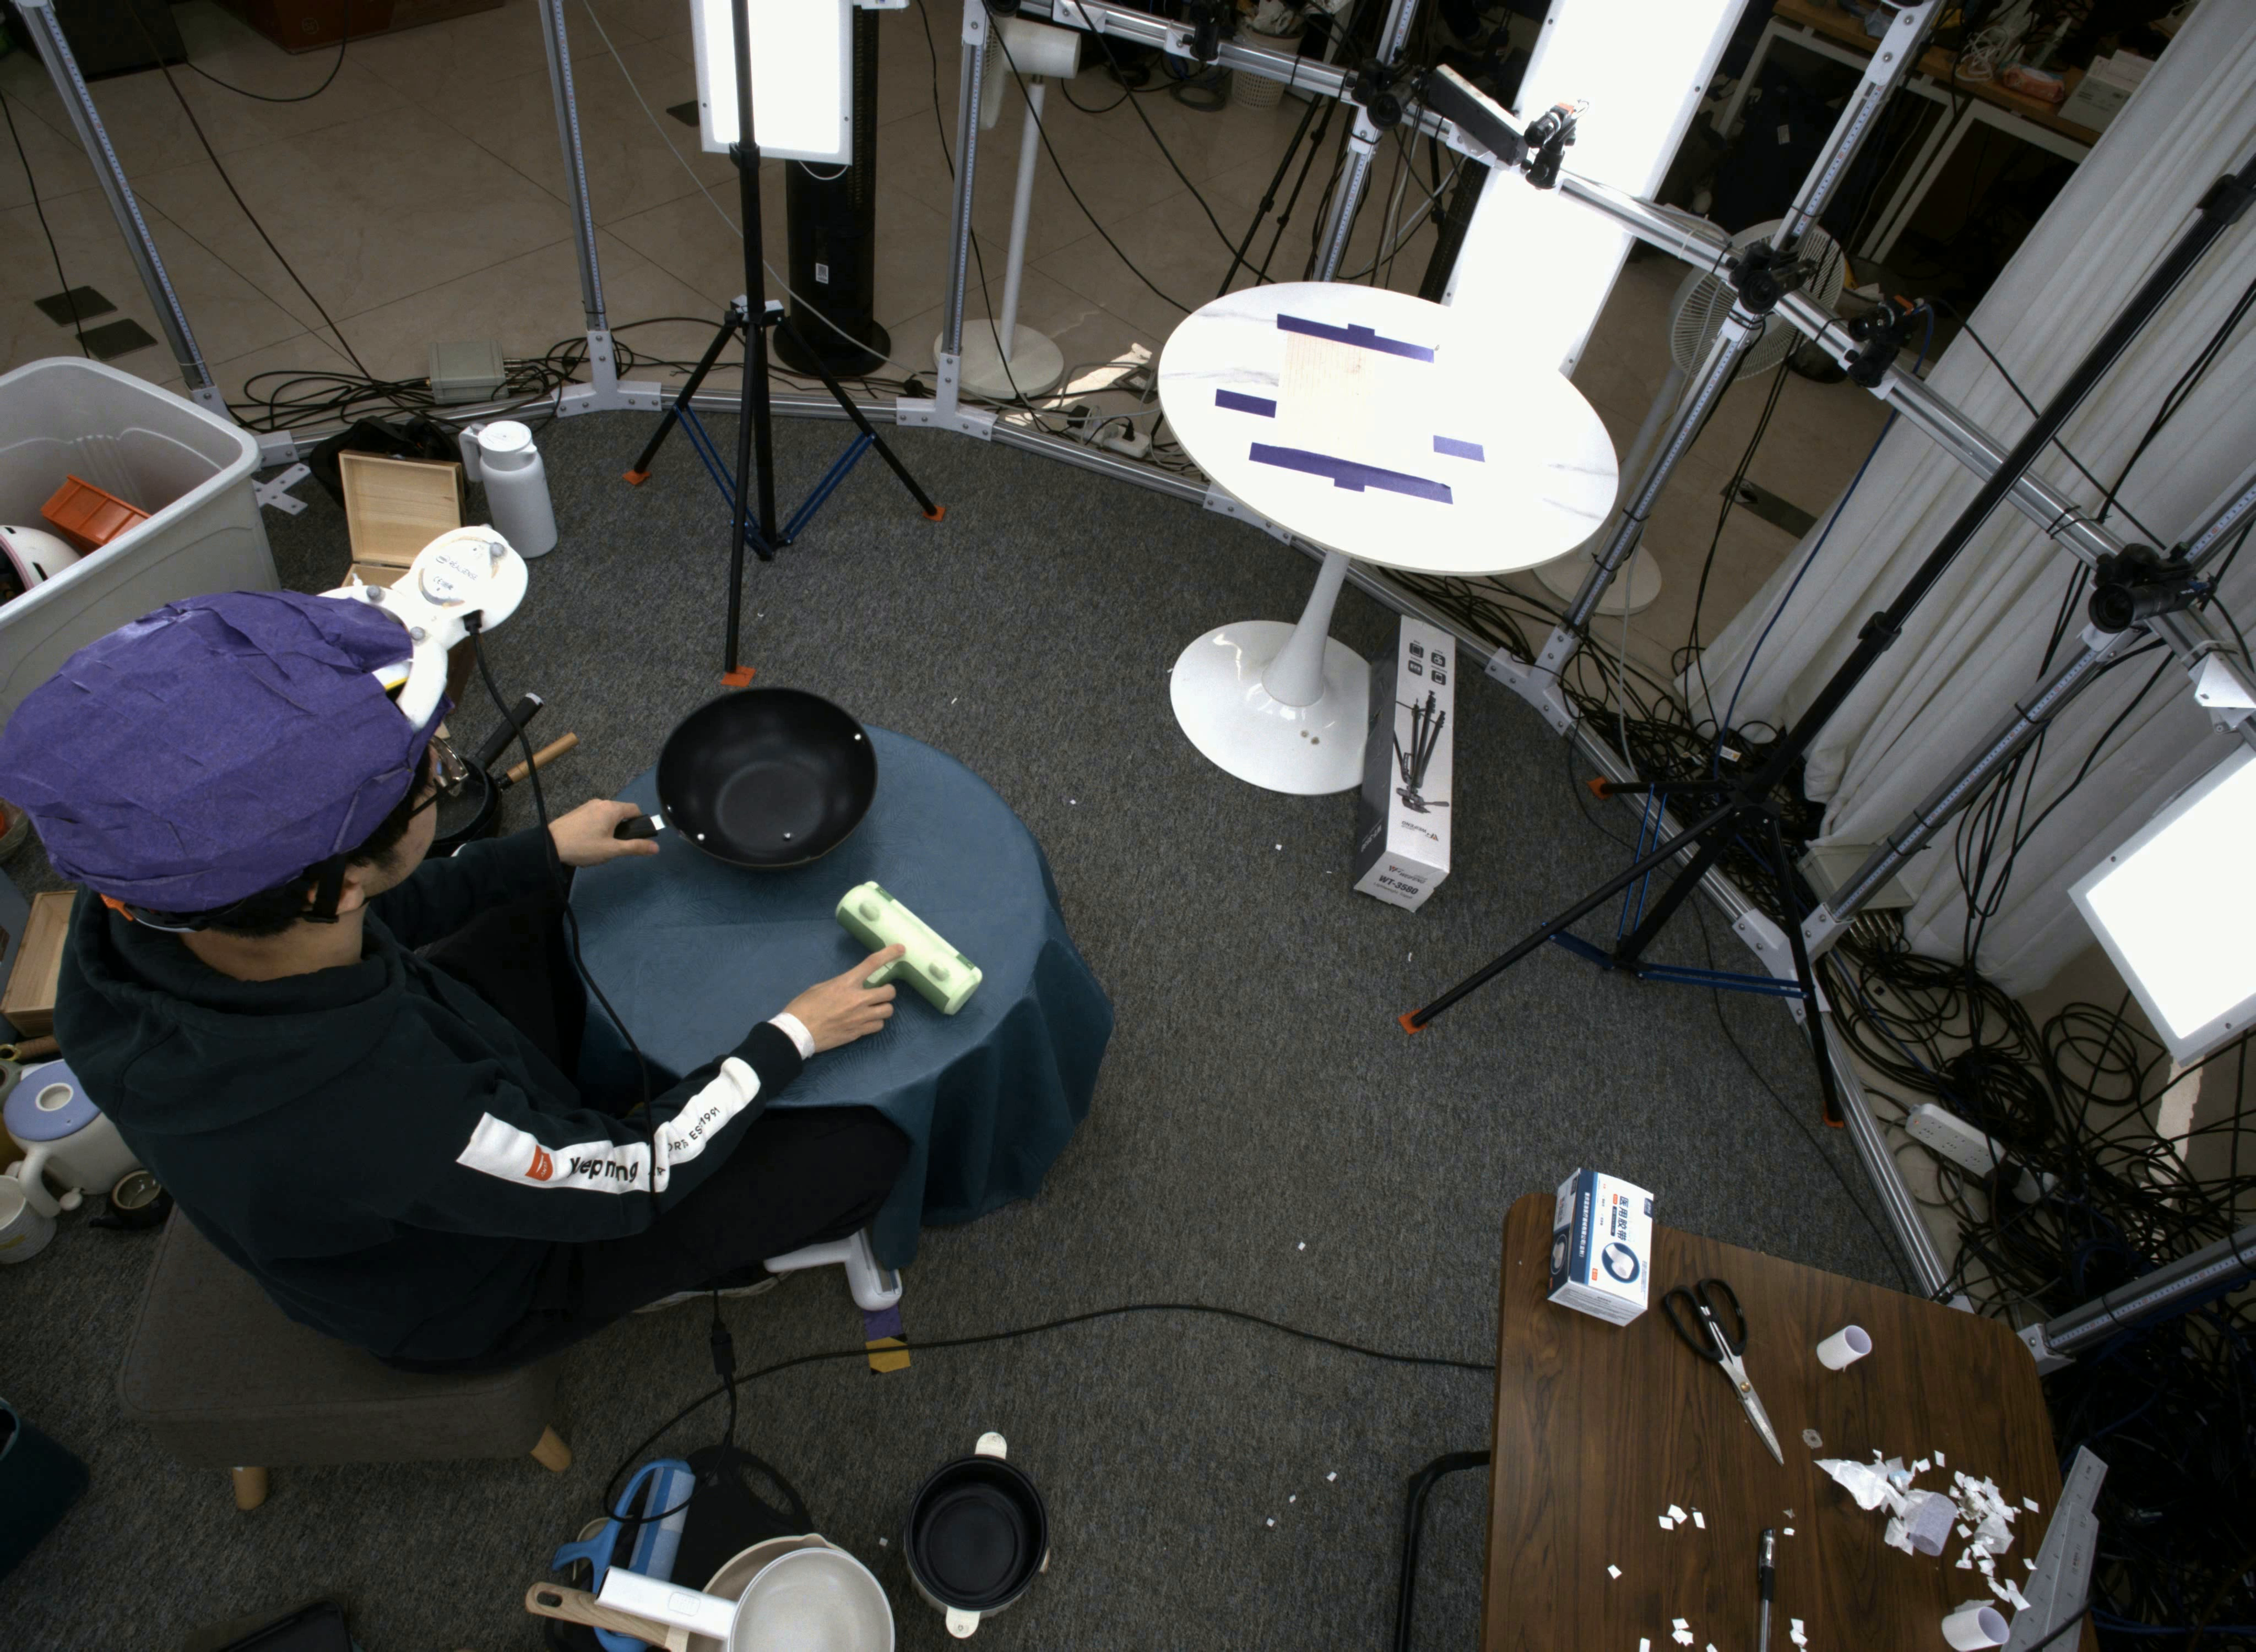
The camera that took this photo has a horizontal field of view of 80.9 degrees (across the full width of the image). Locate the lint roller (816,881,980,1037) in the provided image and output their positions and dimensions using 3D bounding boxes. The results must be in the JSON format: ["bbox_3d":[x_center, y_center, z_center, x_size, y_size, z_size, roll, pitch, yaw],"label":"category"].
[{"bbox_3d":[-0.306,0.176,1.567,0.196,0.083,0.183,40,54,9],"label":"lint roller"}]

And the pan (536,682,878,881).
[{"bbox_3d":[-0.540,-0.014,1.647,0.464,0.088,0.282,-26,68,-23],"label":"pan"}]
